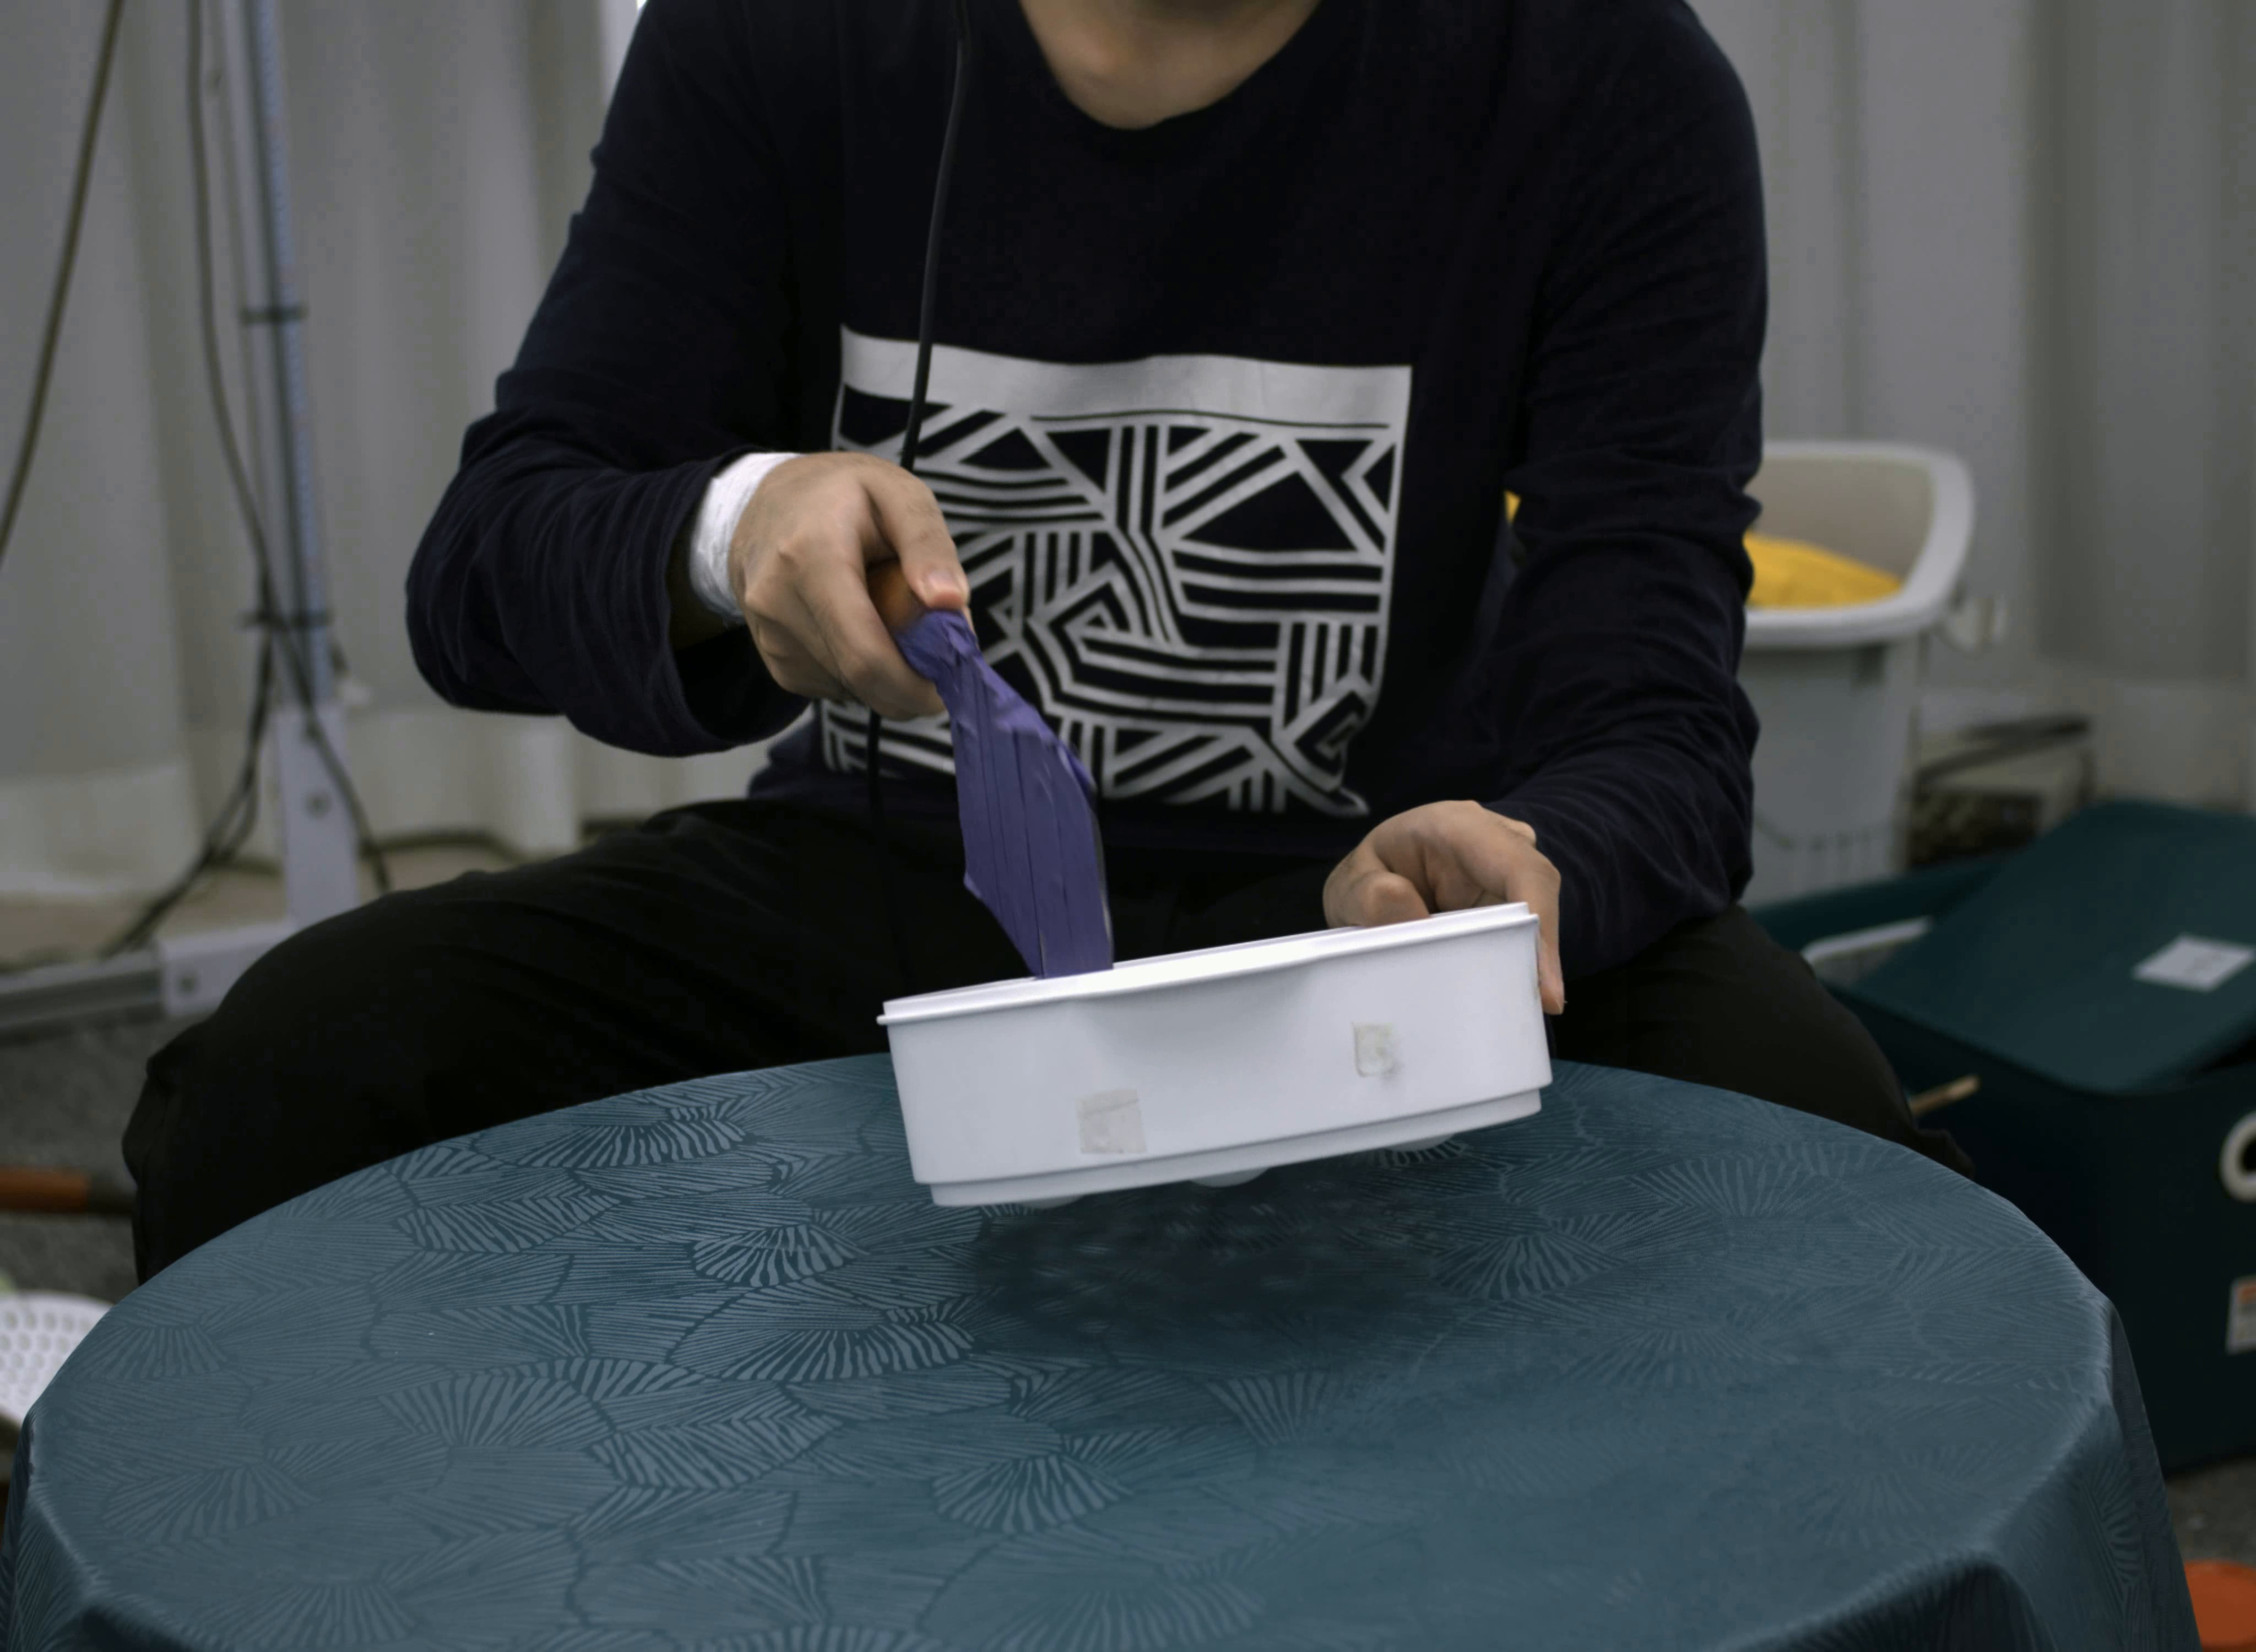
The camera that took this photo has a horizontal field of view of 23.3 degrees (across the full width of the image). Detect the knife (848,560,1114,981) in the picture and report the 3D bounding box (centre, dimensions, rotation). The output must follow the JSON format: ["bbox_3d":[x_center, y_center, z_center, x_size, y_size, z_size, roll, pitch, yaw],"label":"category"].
[{"bbox_3d":[-0.046,-0.009,1.700,0.032,0.103,0.318,-6,15,-11],"label":"knife"}]

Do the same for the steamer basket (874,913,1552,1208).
[{"bbox_3d":[0.028,0.072,1.631,0.201,0.069,0.230,-8,-4,3],"label":"steamer basket"}]
